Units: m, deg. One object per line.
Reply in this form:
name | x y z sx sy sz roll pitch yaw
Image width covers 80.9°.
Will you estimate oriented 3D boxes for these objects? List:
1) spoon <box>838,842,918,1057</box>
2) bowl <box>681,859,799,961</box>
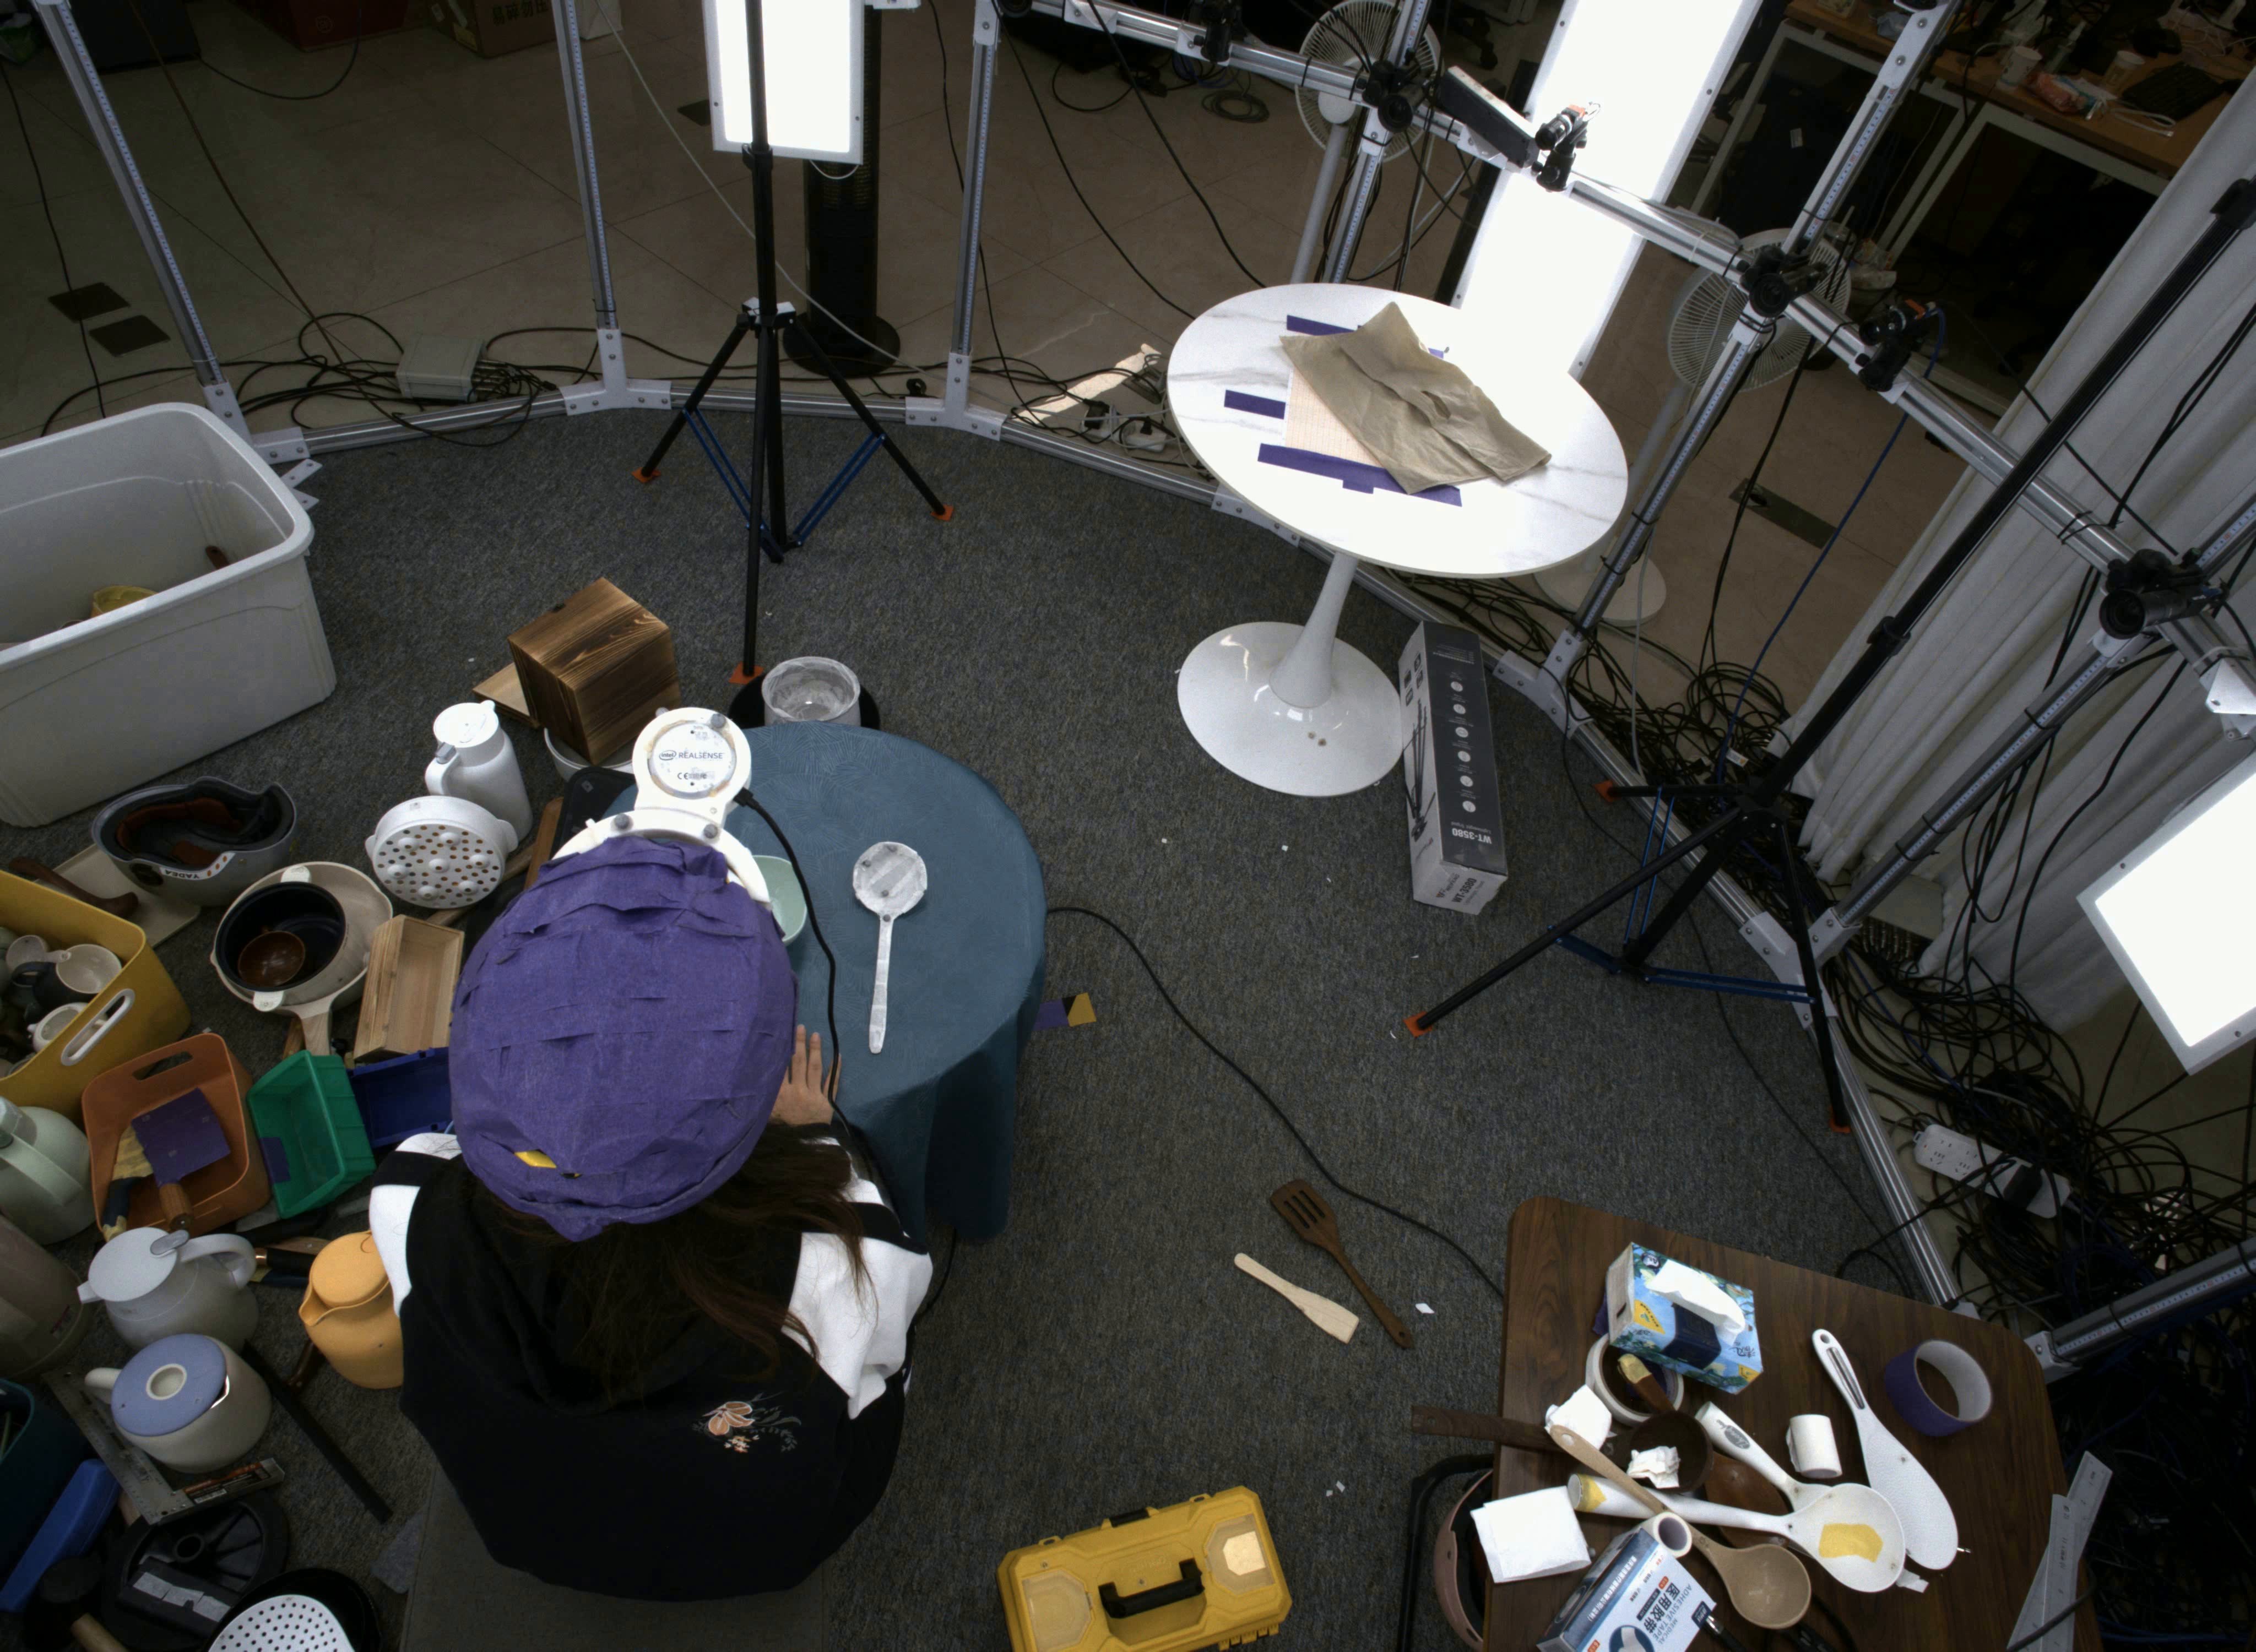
spoon | -0.319 0.145 1.601 0.100 0.061 0.272 4 53 -5
bowl | -0.475 0.112 1.587 0.151 0.060 0.149 8 52 -9
